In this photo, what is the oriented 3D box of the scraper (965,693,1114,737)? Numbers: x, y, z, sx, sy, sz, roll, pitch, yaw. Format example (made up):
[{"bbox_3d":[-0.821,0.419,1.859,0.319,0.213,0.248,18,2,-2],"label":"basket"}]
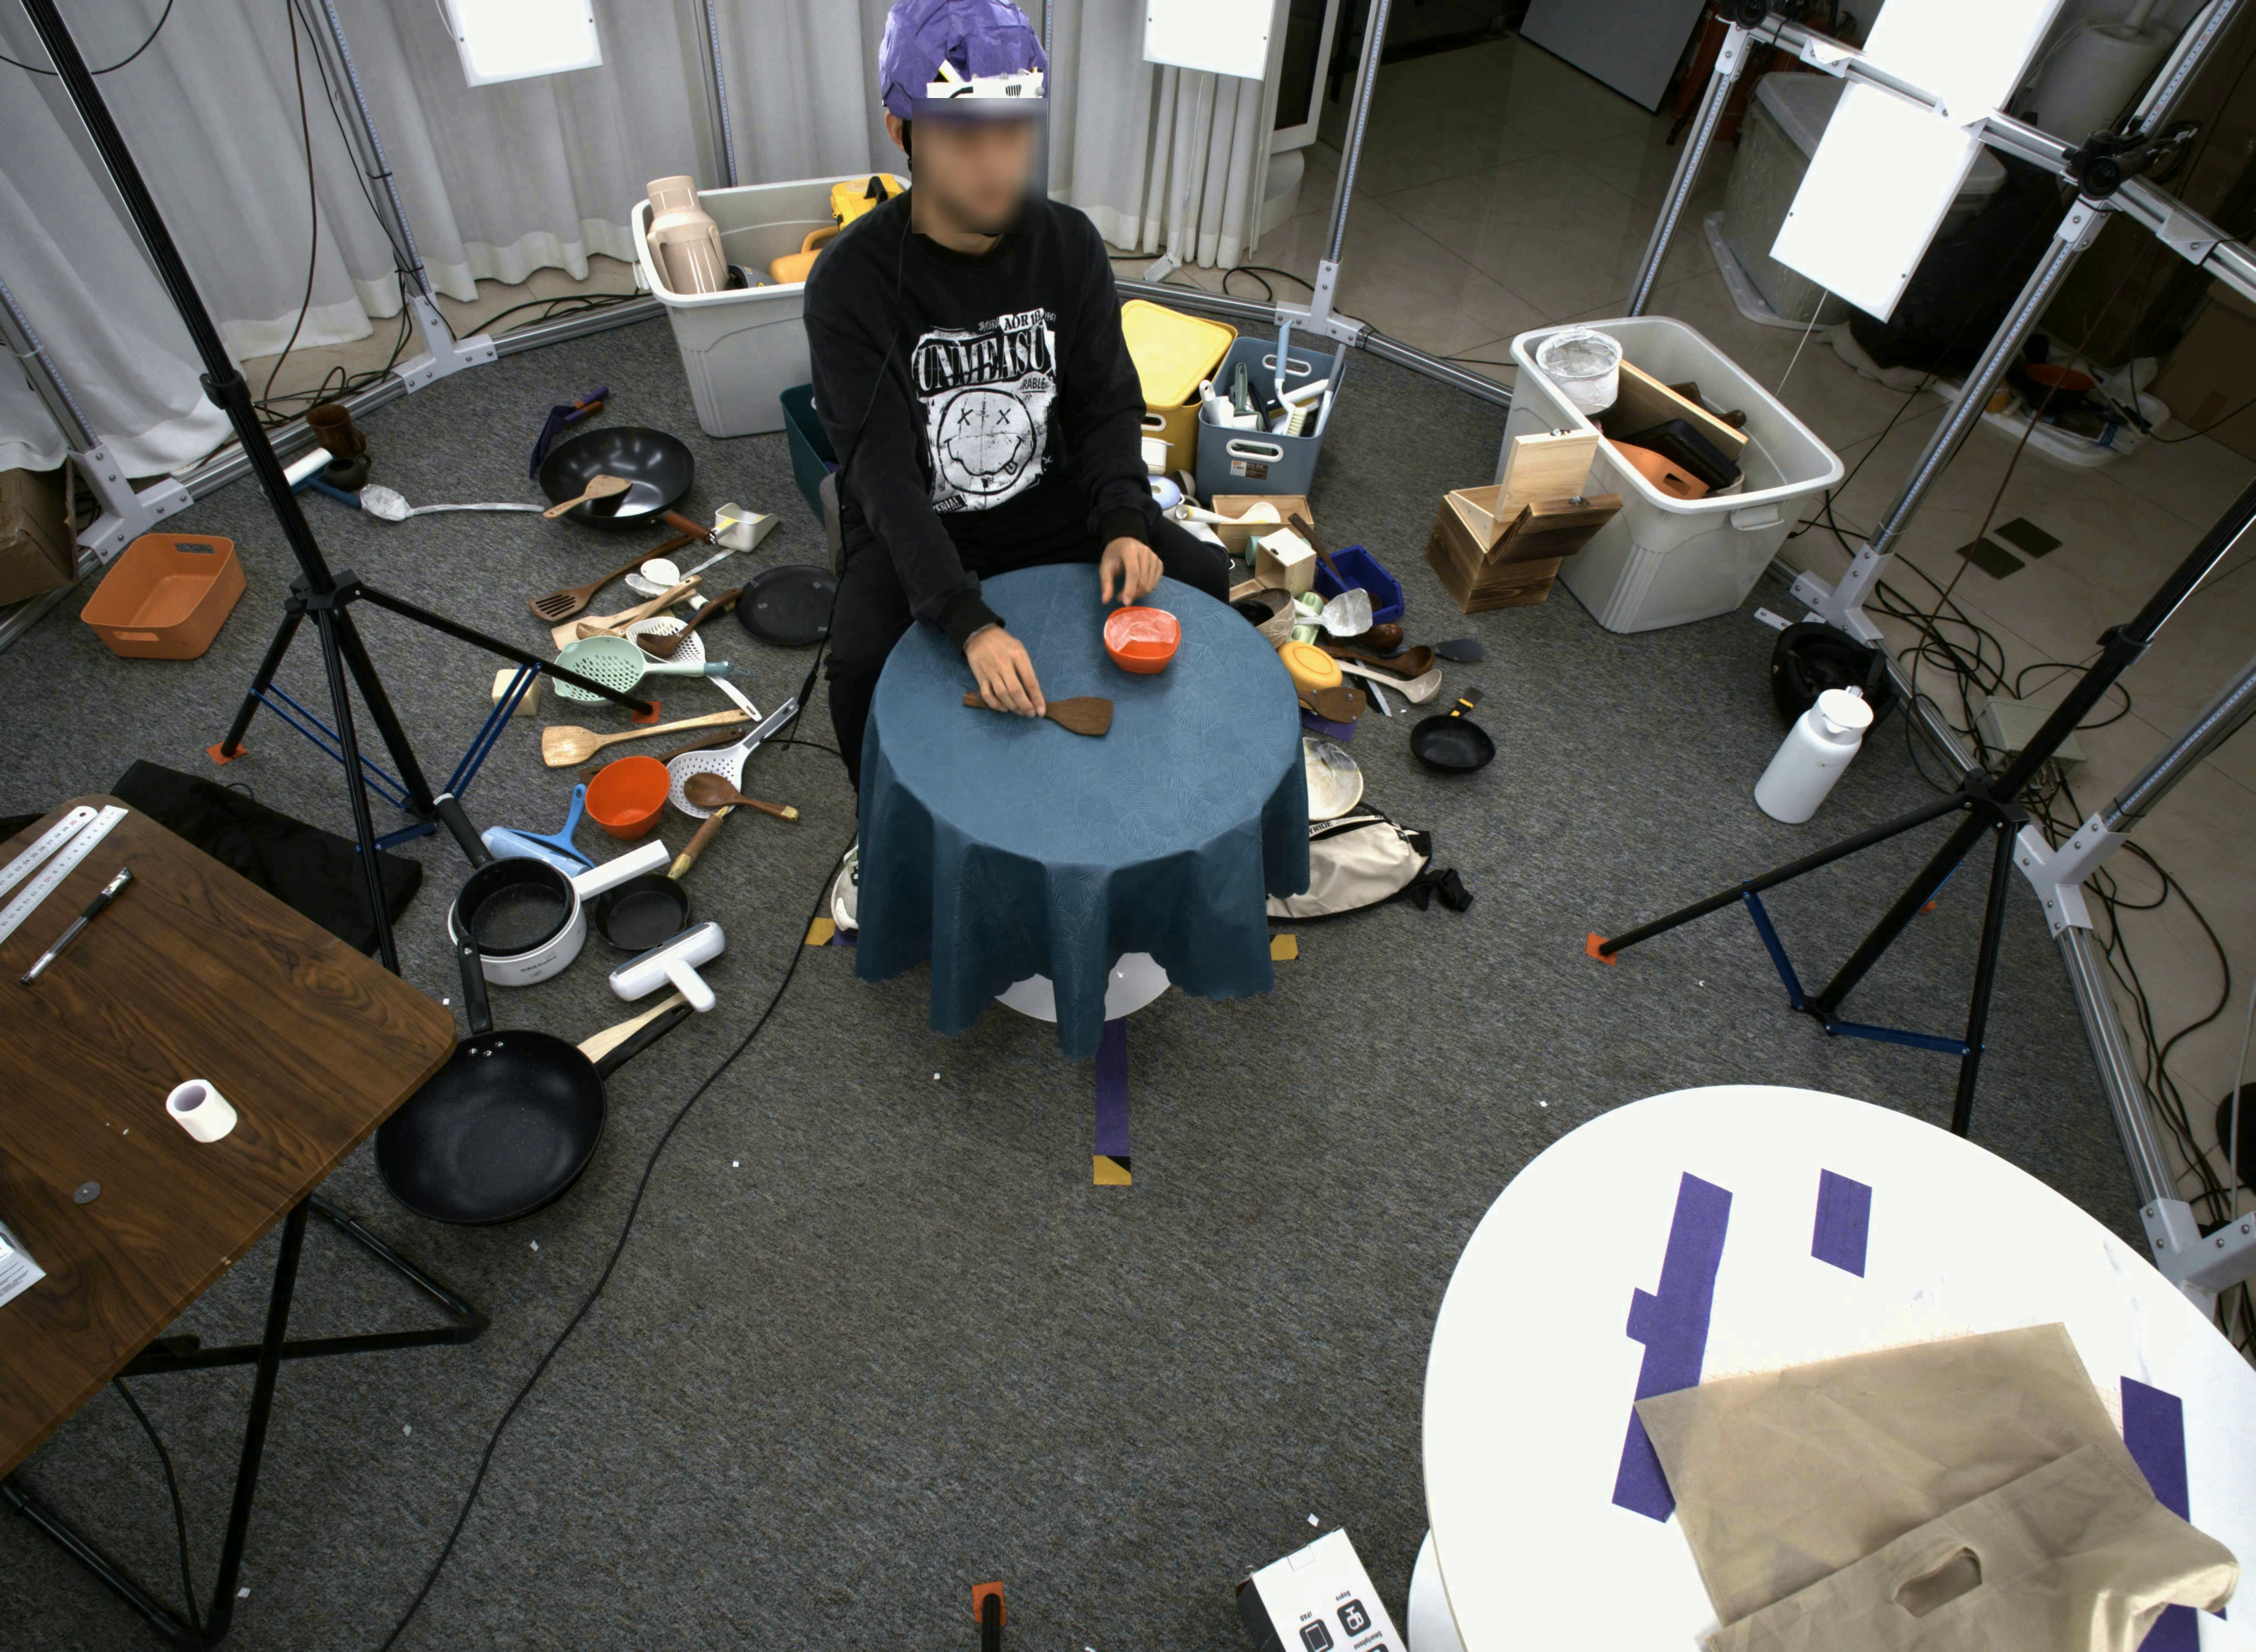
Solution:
[{"bbox_3d":[-0.126,-0.165,1.814,0.211,0.010,0.077,8,47,4],"label":"scraper"}]

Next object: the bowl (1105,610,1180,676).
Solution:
[{"bbox_3d":[0.020,-0.262,1.883,0.119,0.050,0.122,1,50,-2],"label":"bowl"}]
